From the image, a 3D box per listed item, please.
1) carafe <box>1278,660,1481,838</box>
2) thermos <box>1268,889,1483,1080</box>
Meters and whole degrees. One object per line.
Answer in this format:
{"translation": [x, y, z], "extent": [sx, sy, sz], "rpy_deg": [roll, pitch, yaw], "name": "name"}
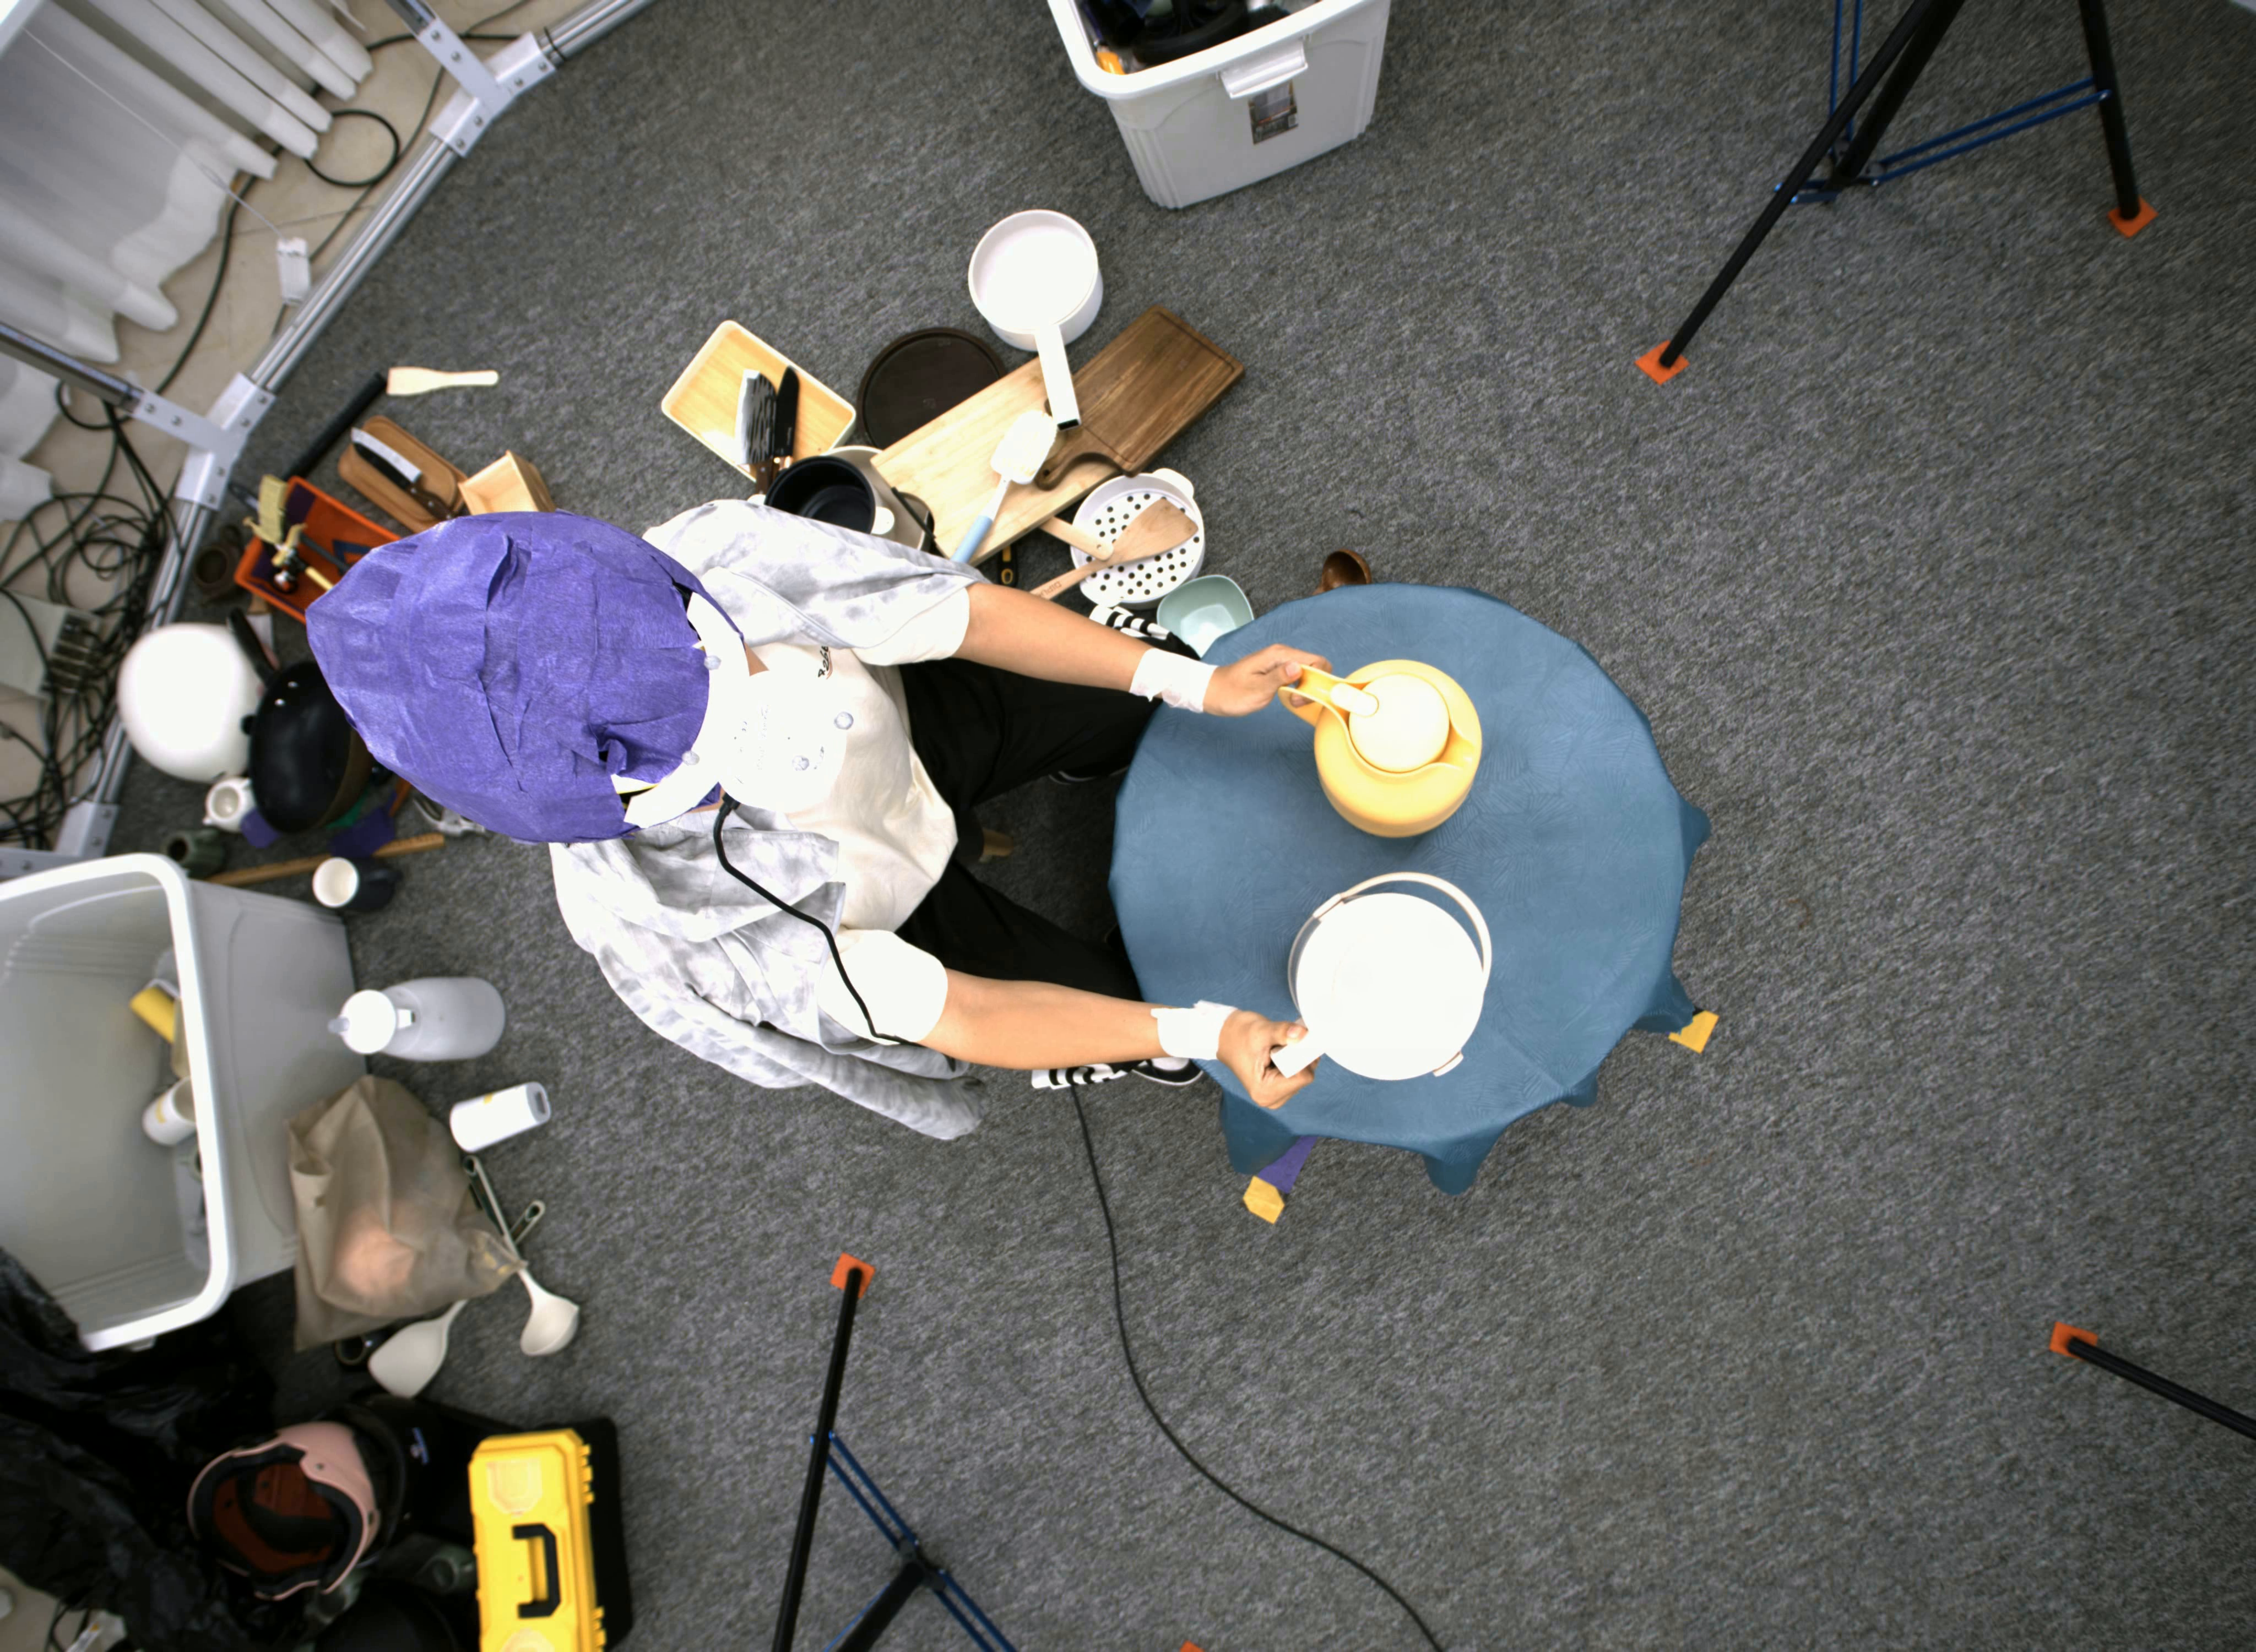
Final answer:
{"translation": [0.244, -0.090, 1.339], "extent": [0.202, 0.261, 0.163], "rpy_deg": [29, 88, 10], "name": "carafe"}
{"translation": [0.215, 0.147, 1.254], "extent": [0.207, 0.406, 0.175], "rpy_deg": [-37, 85, 2], "name": "thermos"}
